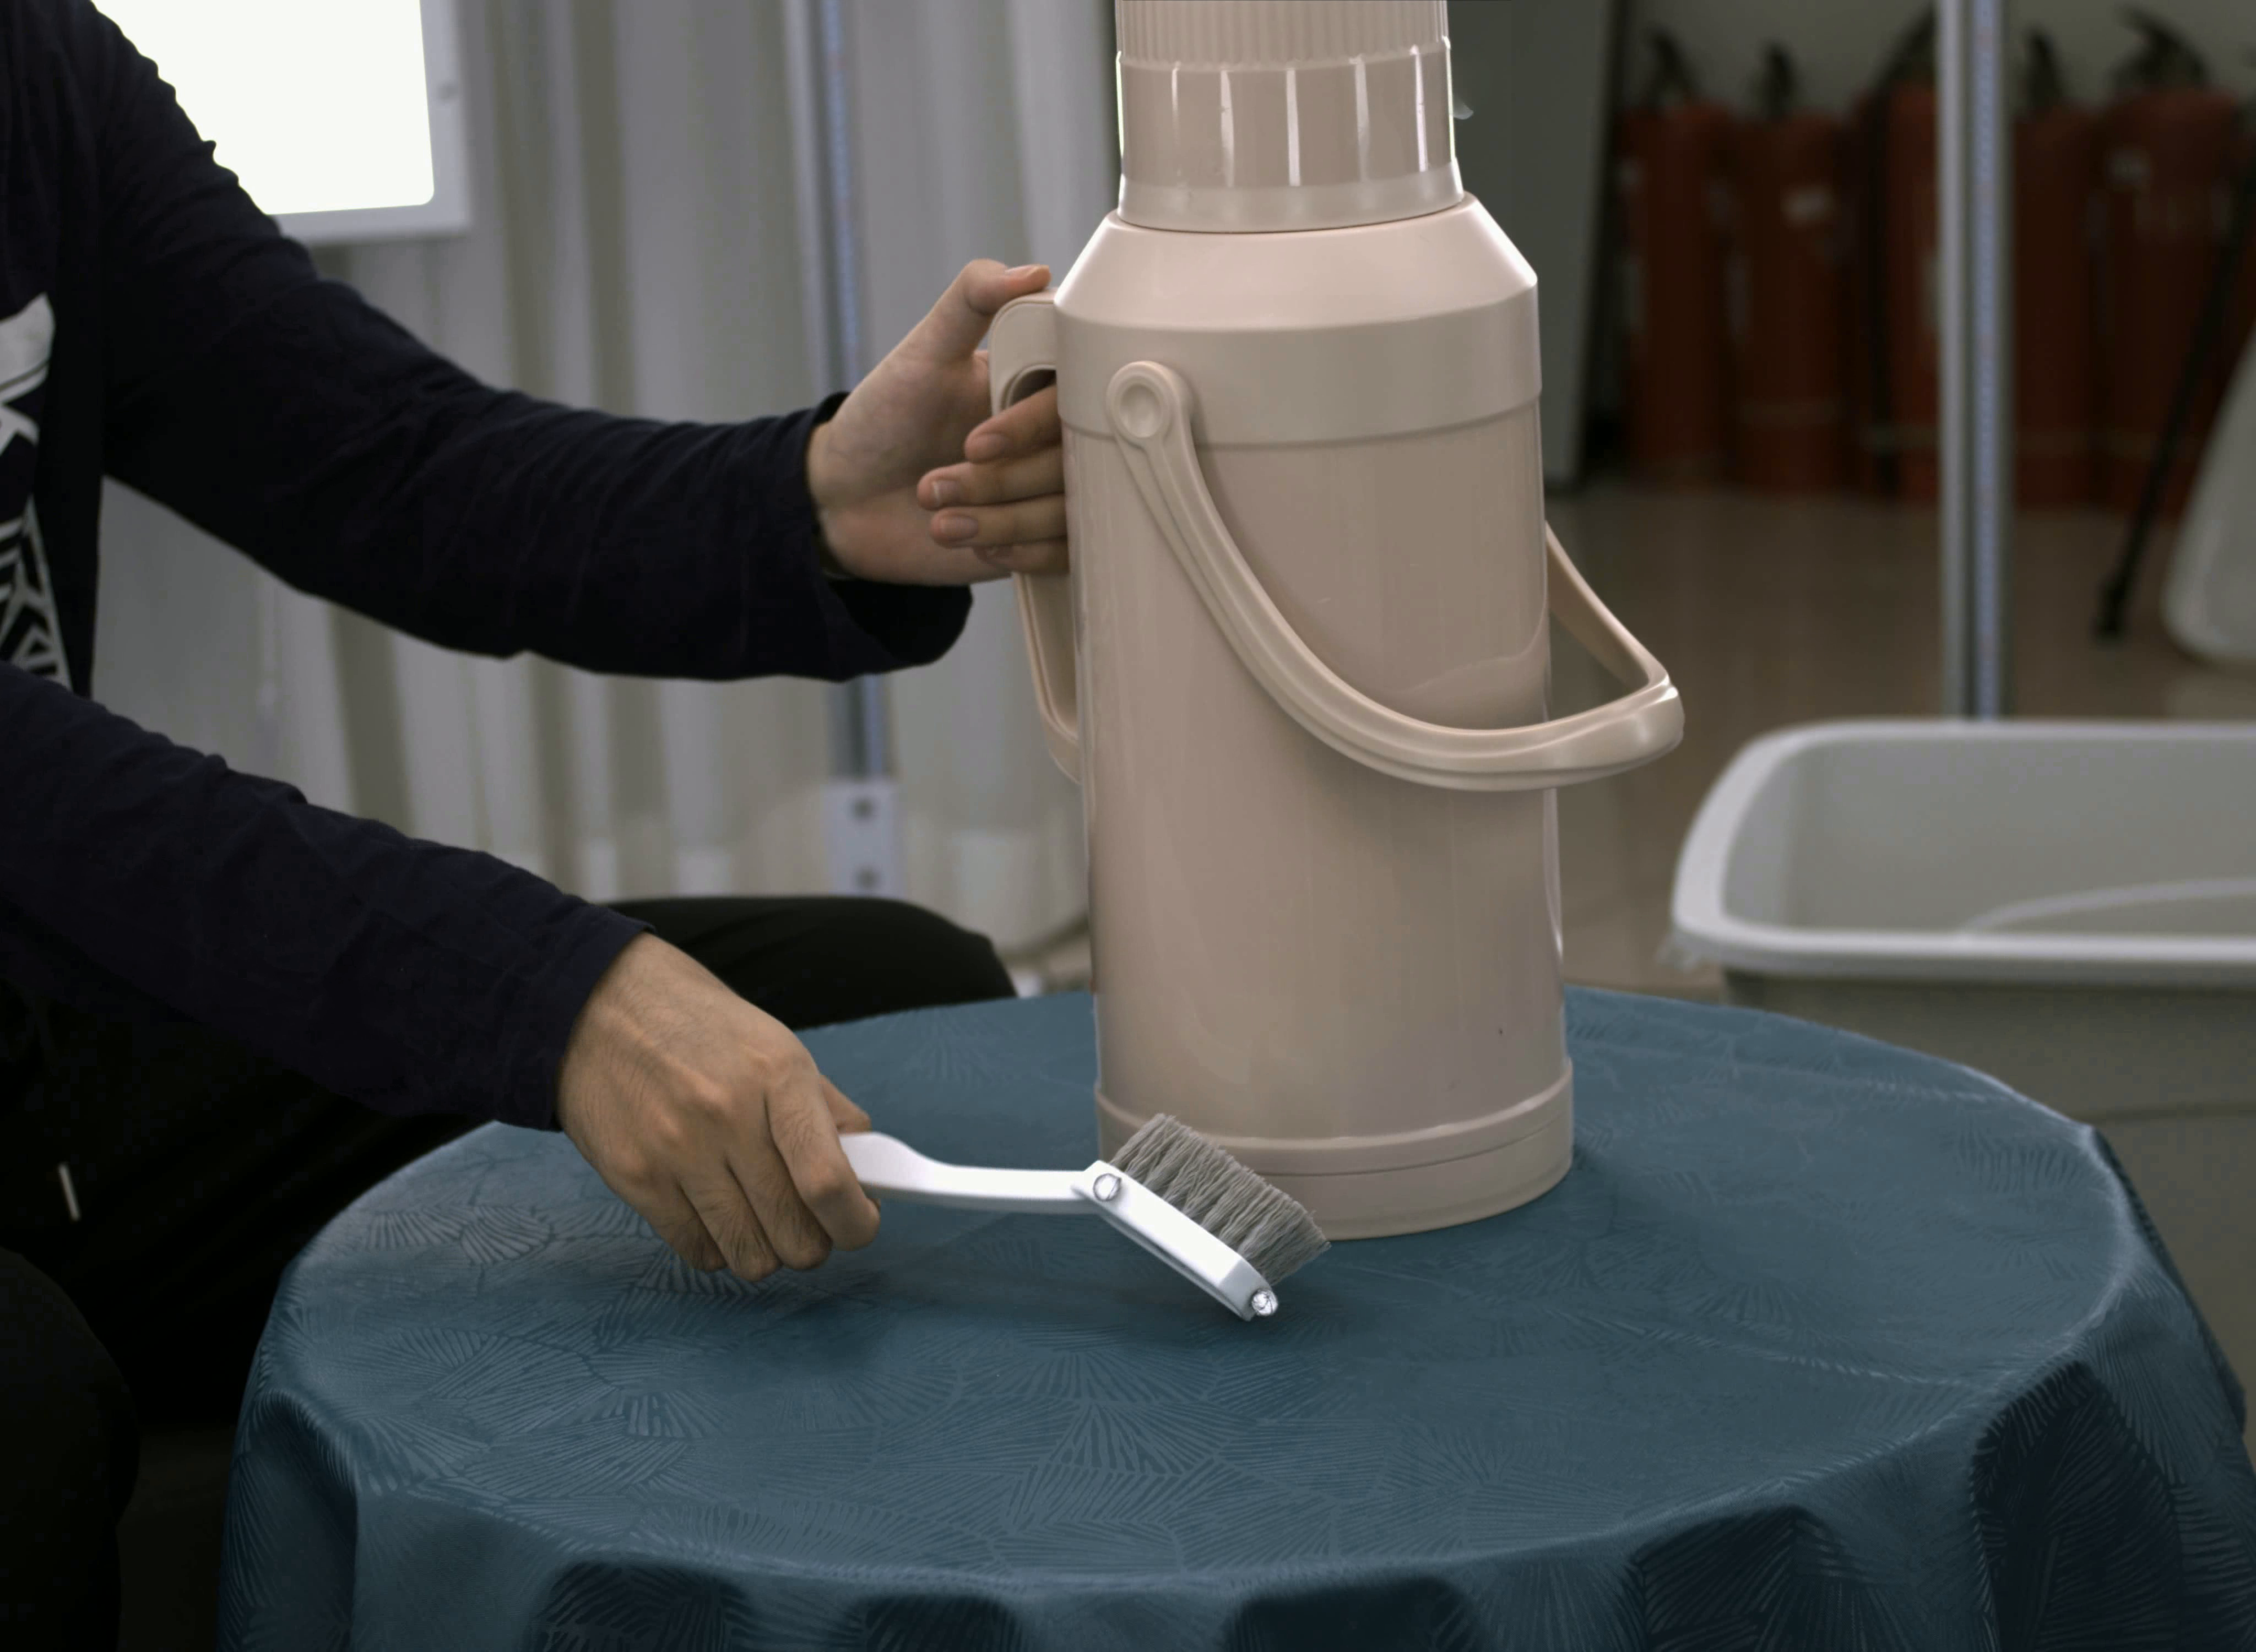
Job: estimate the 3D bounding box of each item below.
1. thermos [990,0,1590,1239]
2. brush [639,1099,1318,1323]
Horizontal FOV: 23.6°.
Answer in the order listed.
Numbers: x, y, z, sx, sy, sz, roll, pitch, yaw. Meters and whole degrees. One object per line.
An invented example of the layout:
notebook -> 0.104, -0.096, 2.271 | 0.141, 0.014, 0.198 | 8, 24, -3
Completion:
thermos -> 0.049, -0.082, 1.751 | 0.208, 0.410, 0.172 | 6, 18, 36
brush -> -0.049, 0.101, 1.687 | 0.245, 0.051, 0.034 | 15, -8, 32
